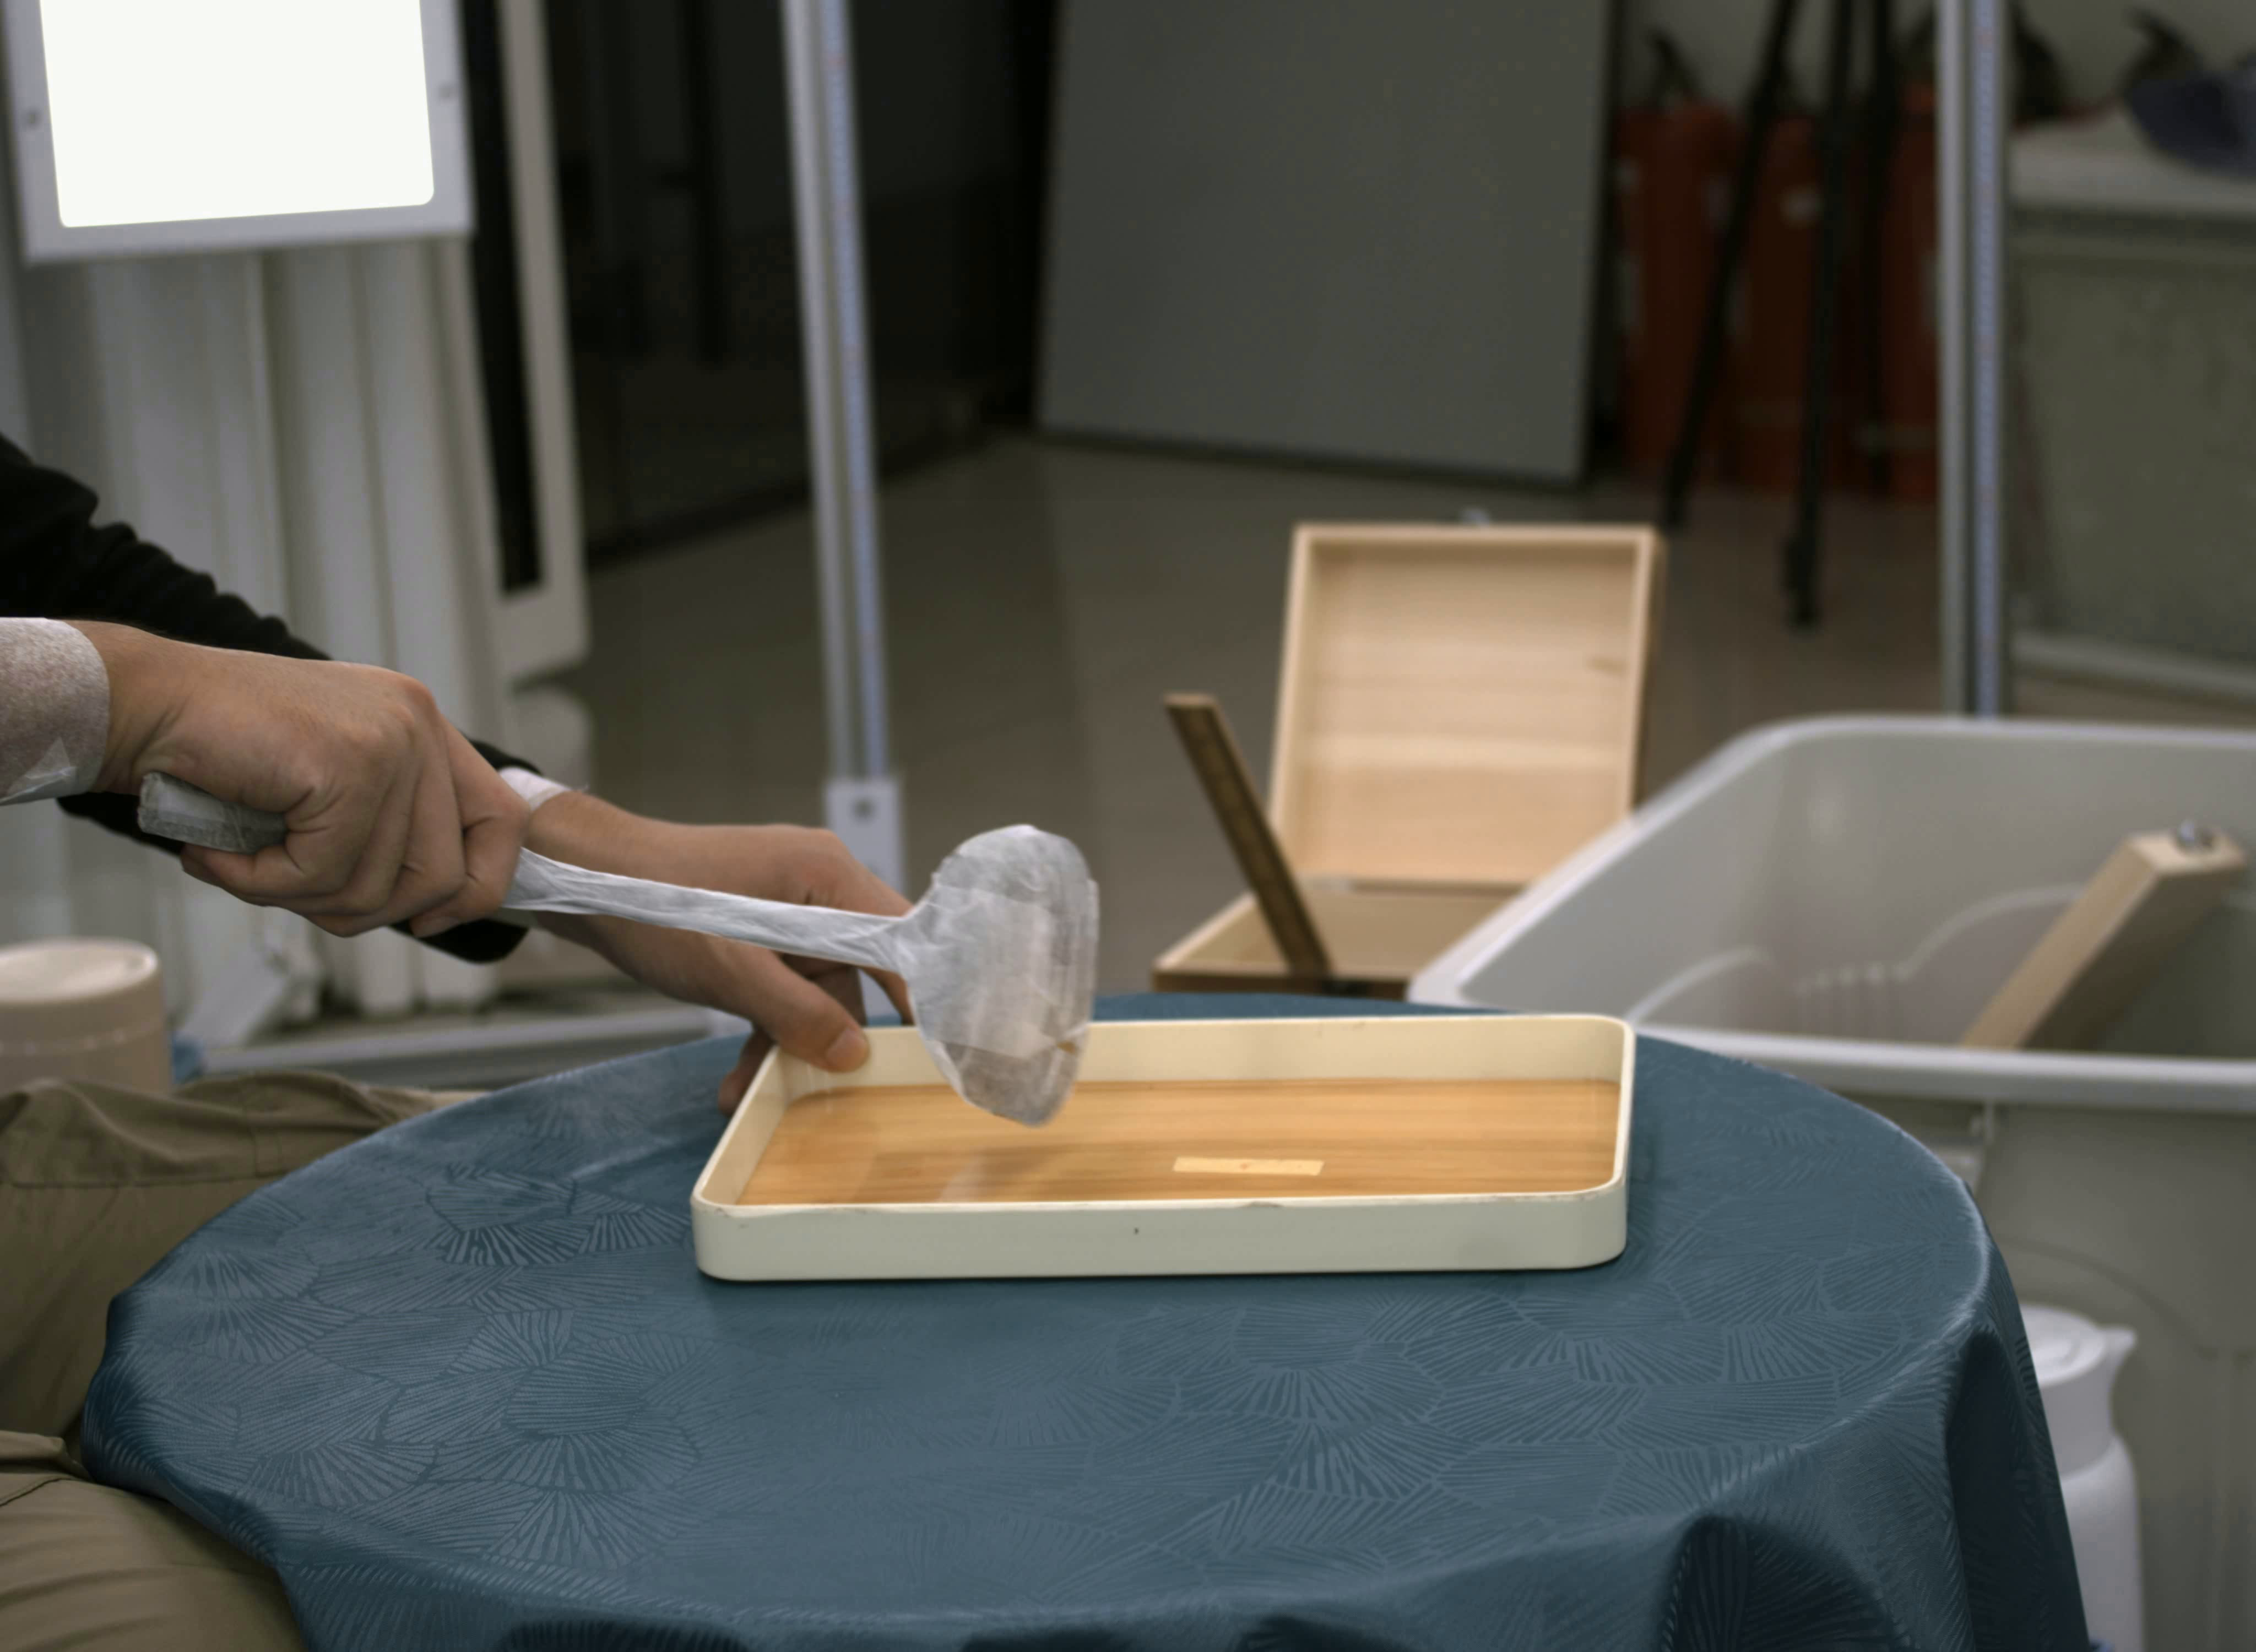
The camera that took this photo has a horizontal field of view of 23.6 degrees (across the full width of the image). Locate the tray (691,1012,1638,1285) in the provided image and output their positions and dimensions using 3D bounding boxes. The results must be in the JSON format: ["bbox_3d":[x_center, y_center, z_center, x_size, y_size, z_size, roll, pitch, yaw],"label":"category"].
[{"bbox_3d":[0.017,0.105,1.767,0.298,0.028,0.191,-2,15,9],"label":"tray"}]

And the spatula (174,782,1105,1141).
[{"bbox_3d":[-0.140,0.025,1.669,0.356,0.100,0.045,13,-11,-34],"label":"spatula"}]
